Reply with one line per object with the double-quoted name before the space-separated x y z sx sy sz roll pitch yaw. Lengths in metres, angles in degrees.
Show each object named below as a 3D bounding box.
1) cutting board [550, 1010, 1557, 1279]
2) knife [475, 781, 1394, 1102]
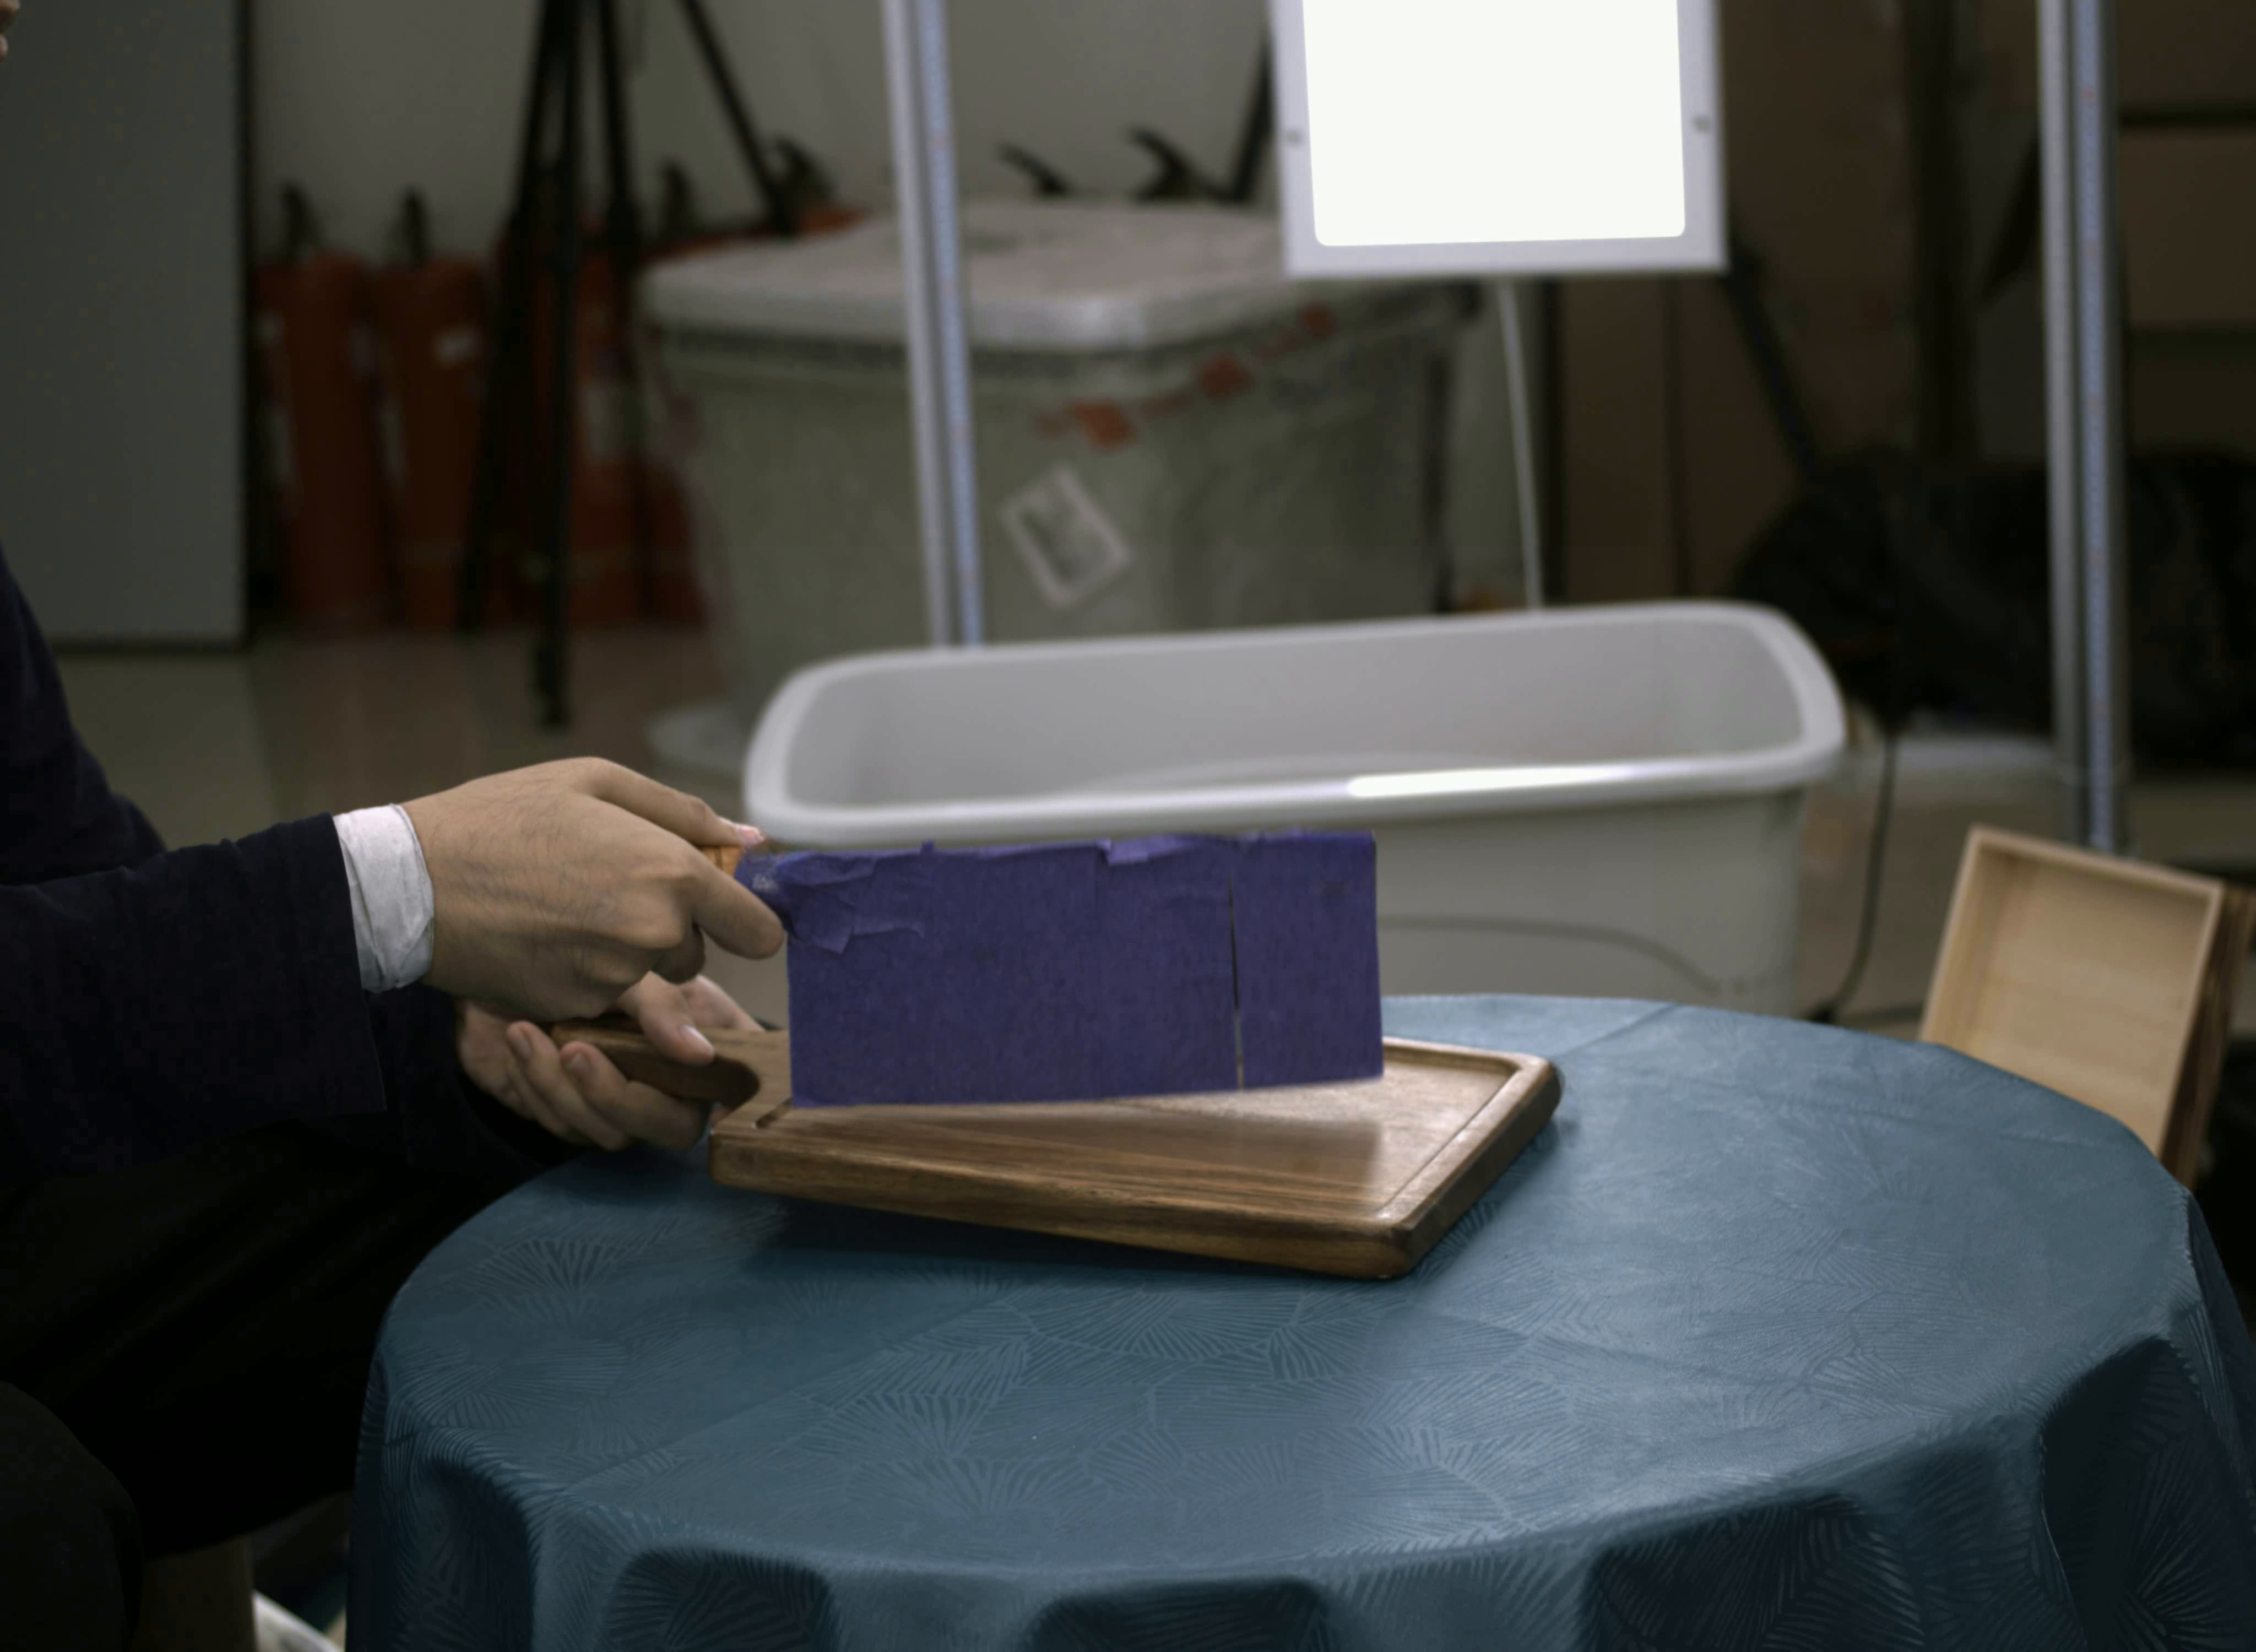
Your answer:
"cutting board" -0.041 0.097 1.928 0.357 0.023 0.197 6 17 21
"knife" -0.064 0.047 1.888 0.314 0.104 0.032 -4 8 -2
